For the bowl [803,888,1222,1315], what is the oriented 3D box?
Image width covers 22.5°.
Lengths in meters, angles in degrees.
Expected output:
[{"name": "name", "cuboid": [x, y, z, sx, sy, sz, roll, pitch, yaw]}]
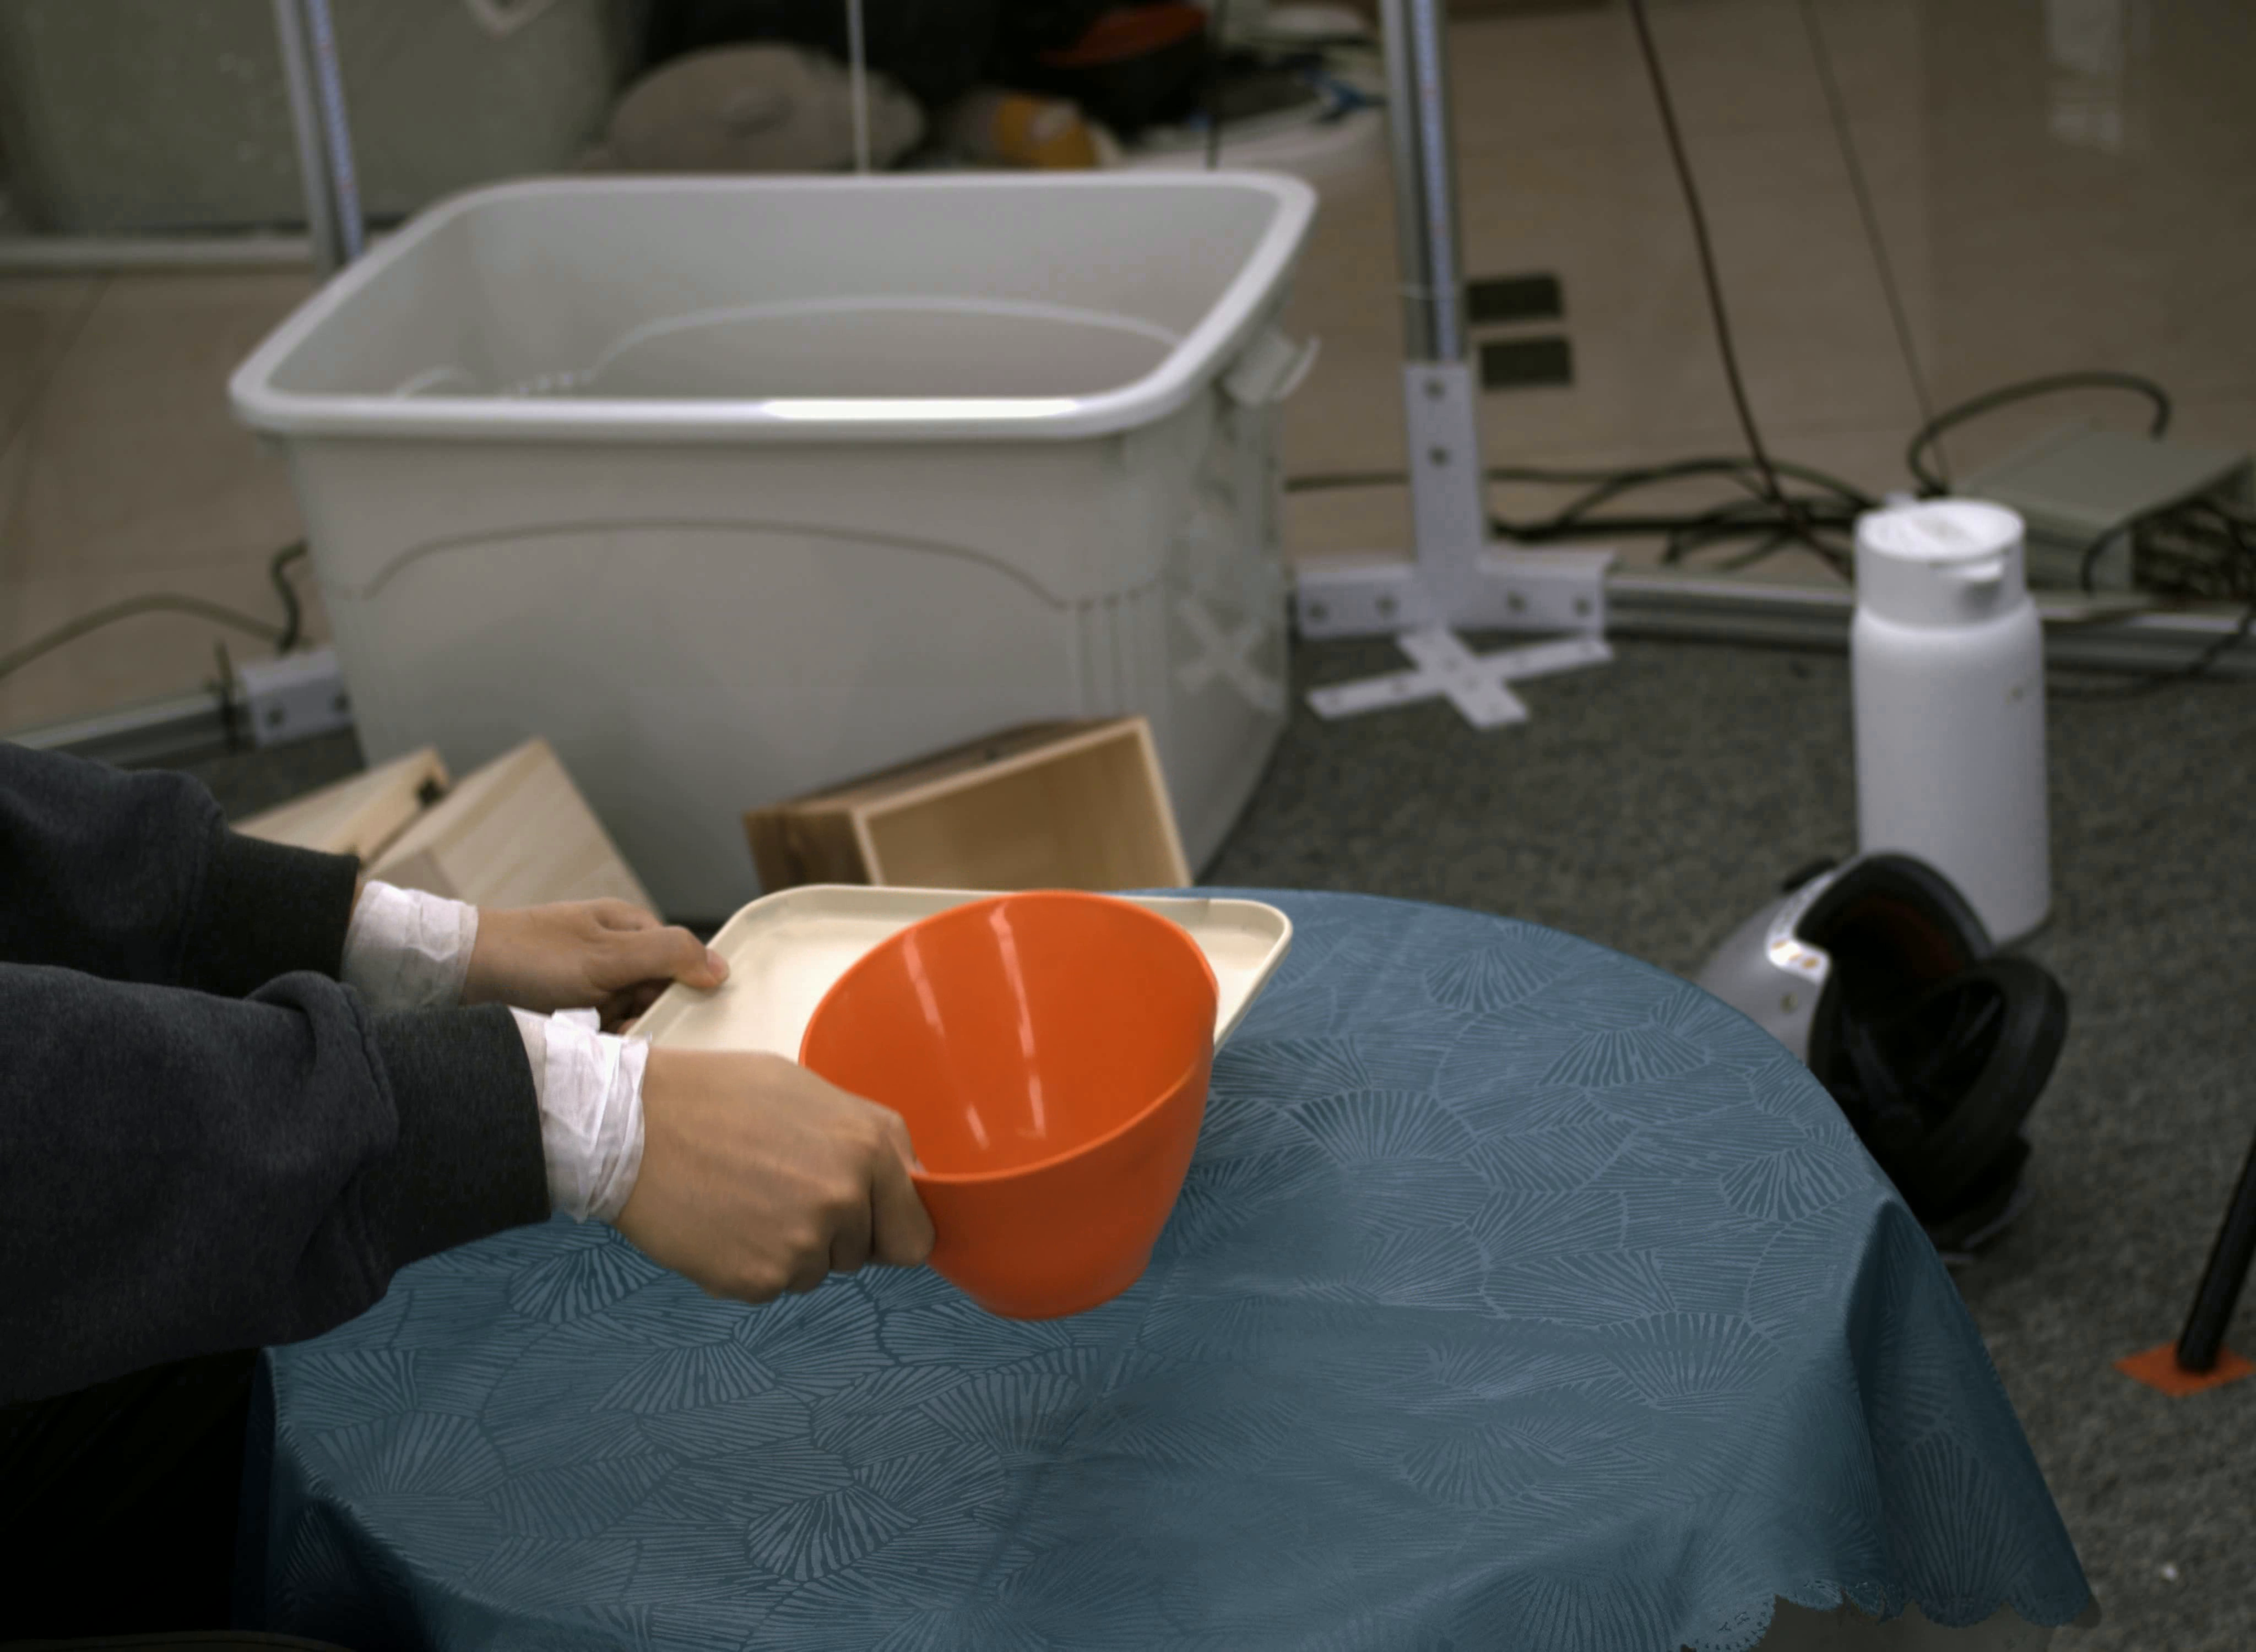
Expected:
[{"name": "bowl", "cuboid": [-0.033, 0.103, 1.970, 0.148, 0.106, 0.145, -8, 28, 5]}]

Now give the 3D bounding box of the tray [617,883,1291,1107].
[{"name": "tray", "cuboid": [-0.066, 0.068, 2.197, 0.239, 0.018, 0.169, 2, 26, 21]}]
